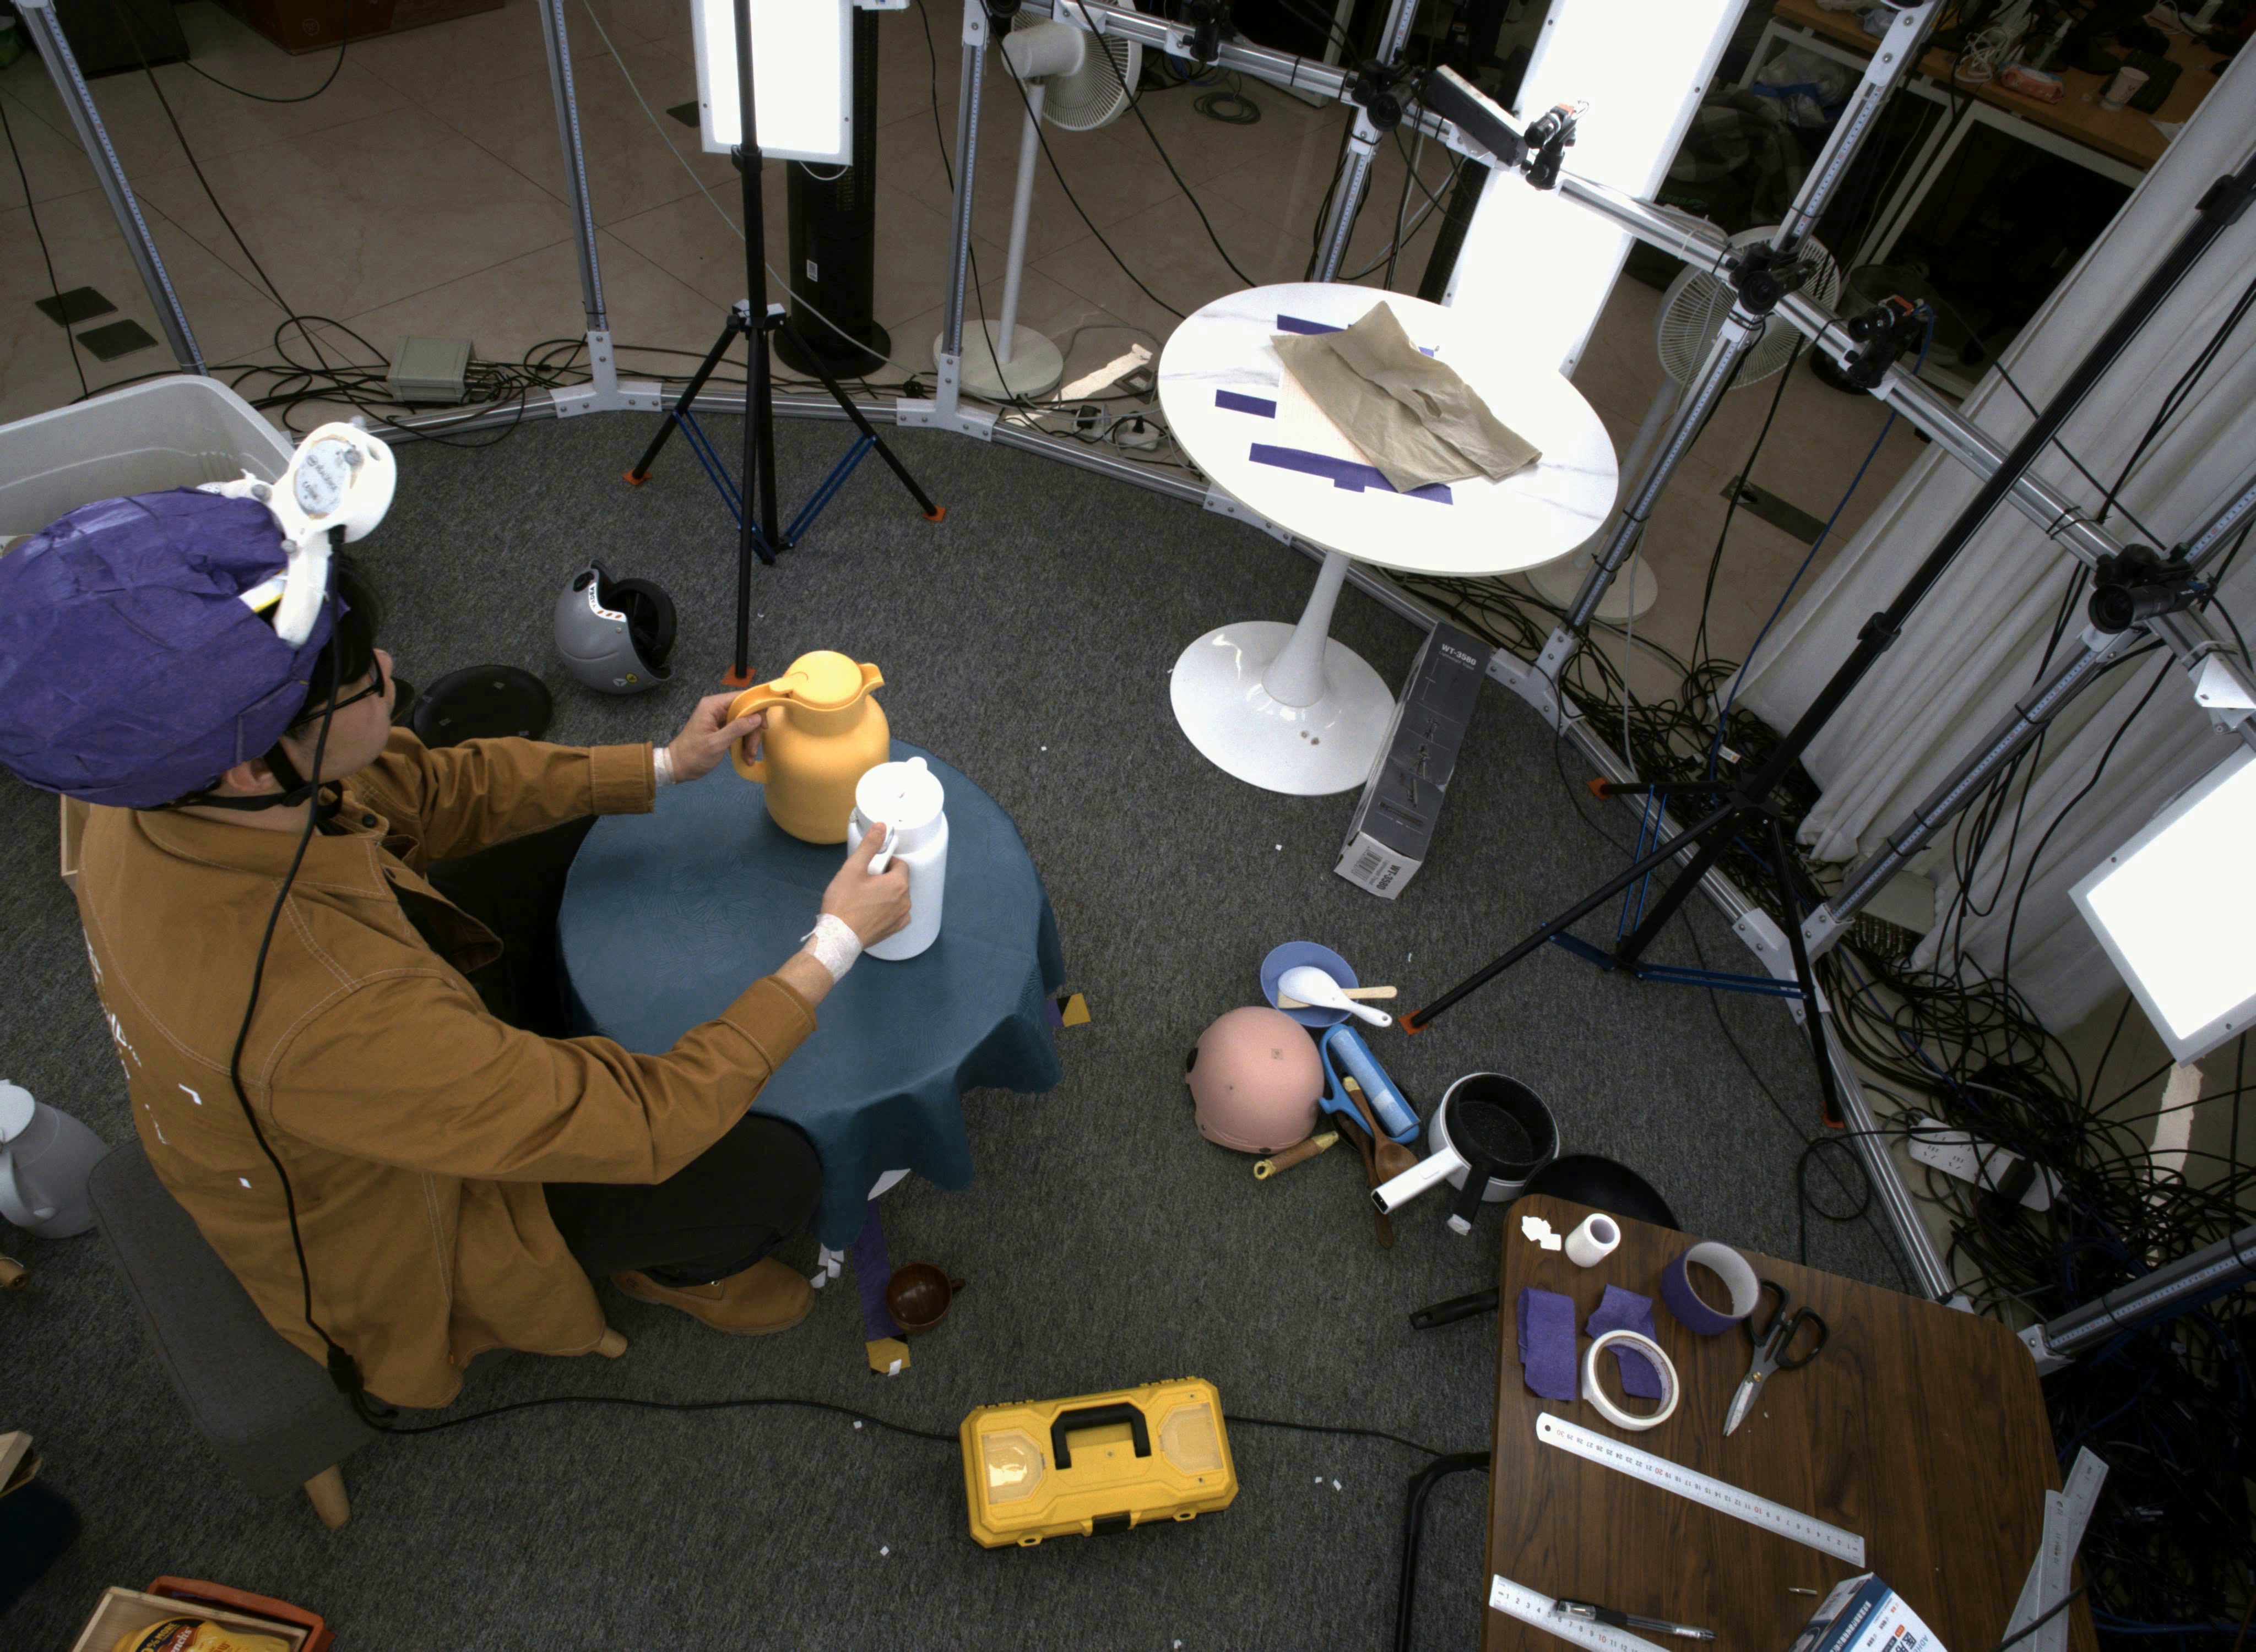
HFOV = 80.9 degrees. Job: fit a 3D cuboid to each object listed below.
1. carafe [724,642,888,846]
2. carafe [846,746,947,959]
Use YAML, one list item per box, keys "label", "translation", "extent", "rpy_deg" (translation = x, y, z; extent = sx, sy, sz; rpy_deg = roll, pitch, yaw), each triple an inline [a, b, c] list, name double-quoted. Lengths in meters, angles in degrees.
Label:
- label: "carafe"
  translation: [-0.404, -0.106, 1.635]
  extent: [0.203, 0.266, 0.159]
  rpy_deg: [-10, 52, -22]
- label: "carafe"
  translation: [-0.280, 0.053, 1.546]
  extent: [0.123, 0.274, 0.171]
  rpy_deg: [16, 52, -1]
